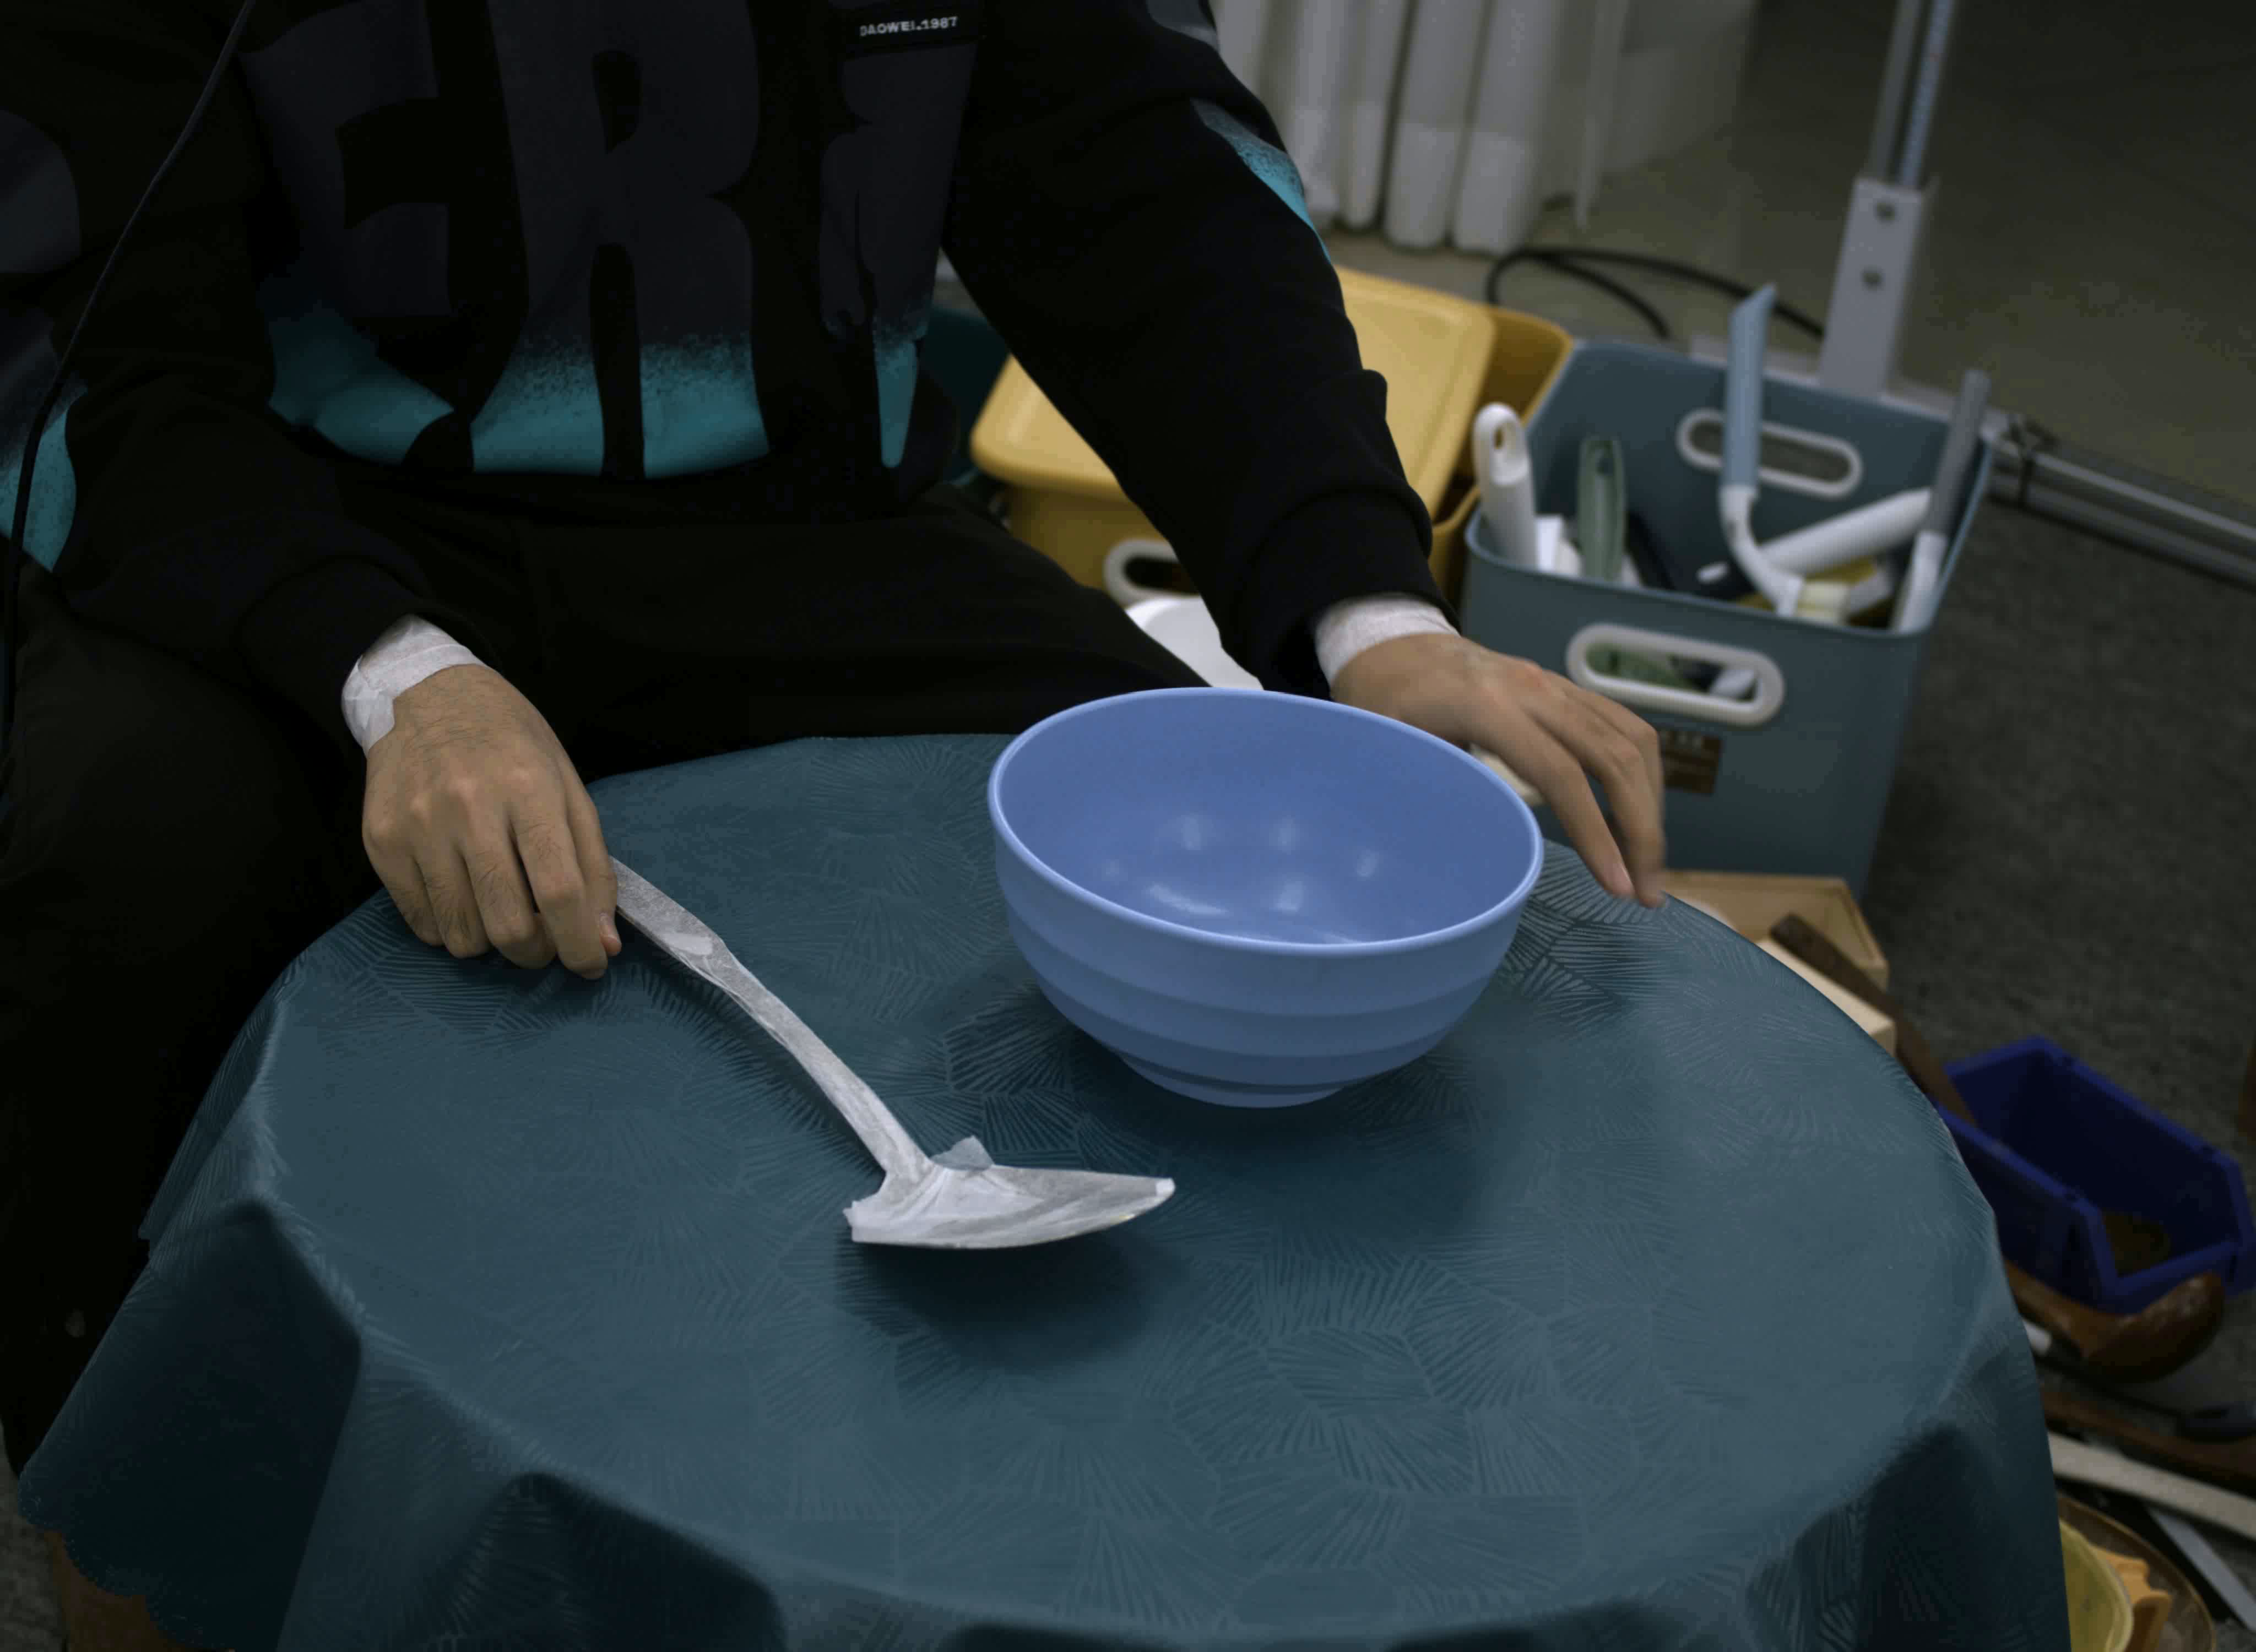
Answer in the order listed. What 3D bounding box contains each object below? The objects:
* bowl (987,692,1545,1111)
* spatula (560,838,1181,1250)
[{"bbox_3d":[0.044,0.037,1.878,0.196,0.095,0.198,4,27,-2],"label":"bowl"},{"bbox_3d":[-0.113,0.068,1.843,0.098,0.044,0.368,-13,33,-30],"label":"spatula"}]
